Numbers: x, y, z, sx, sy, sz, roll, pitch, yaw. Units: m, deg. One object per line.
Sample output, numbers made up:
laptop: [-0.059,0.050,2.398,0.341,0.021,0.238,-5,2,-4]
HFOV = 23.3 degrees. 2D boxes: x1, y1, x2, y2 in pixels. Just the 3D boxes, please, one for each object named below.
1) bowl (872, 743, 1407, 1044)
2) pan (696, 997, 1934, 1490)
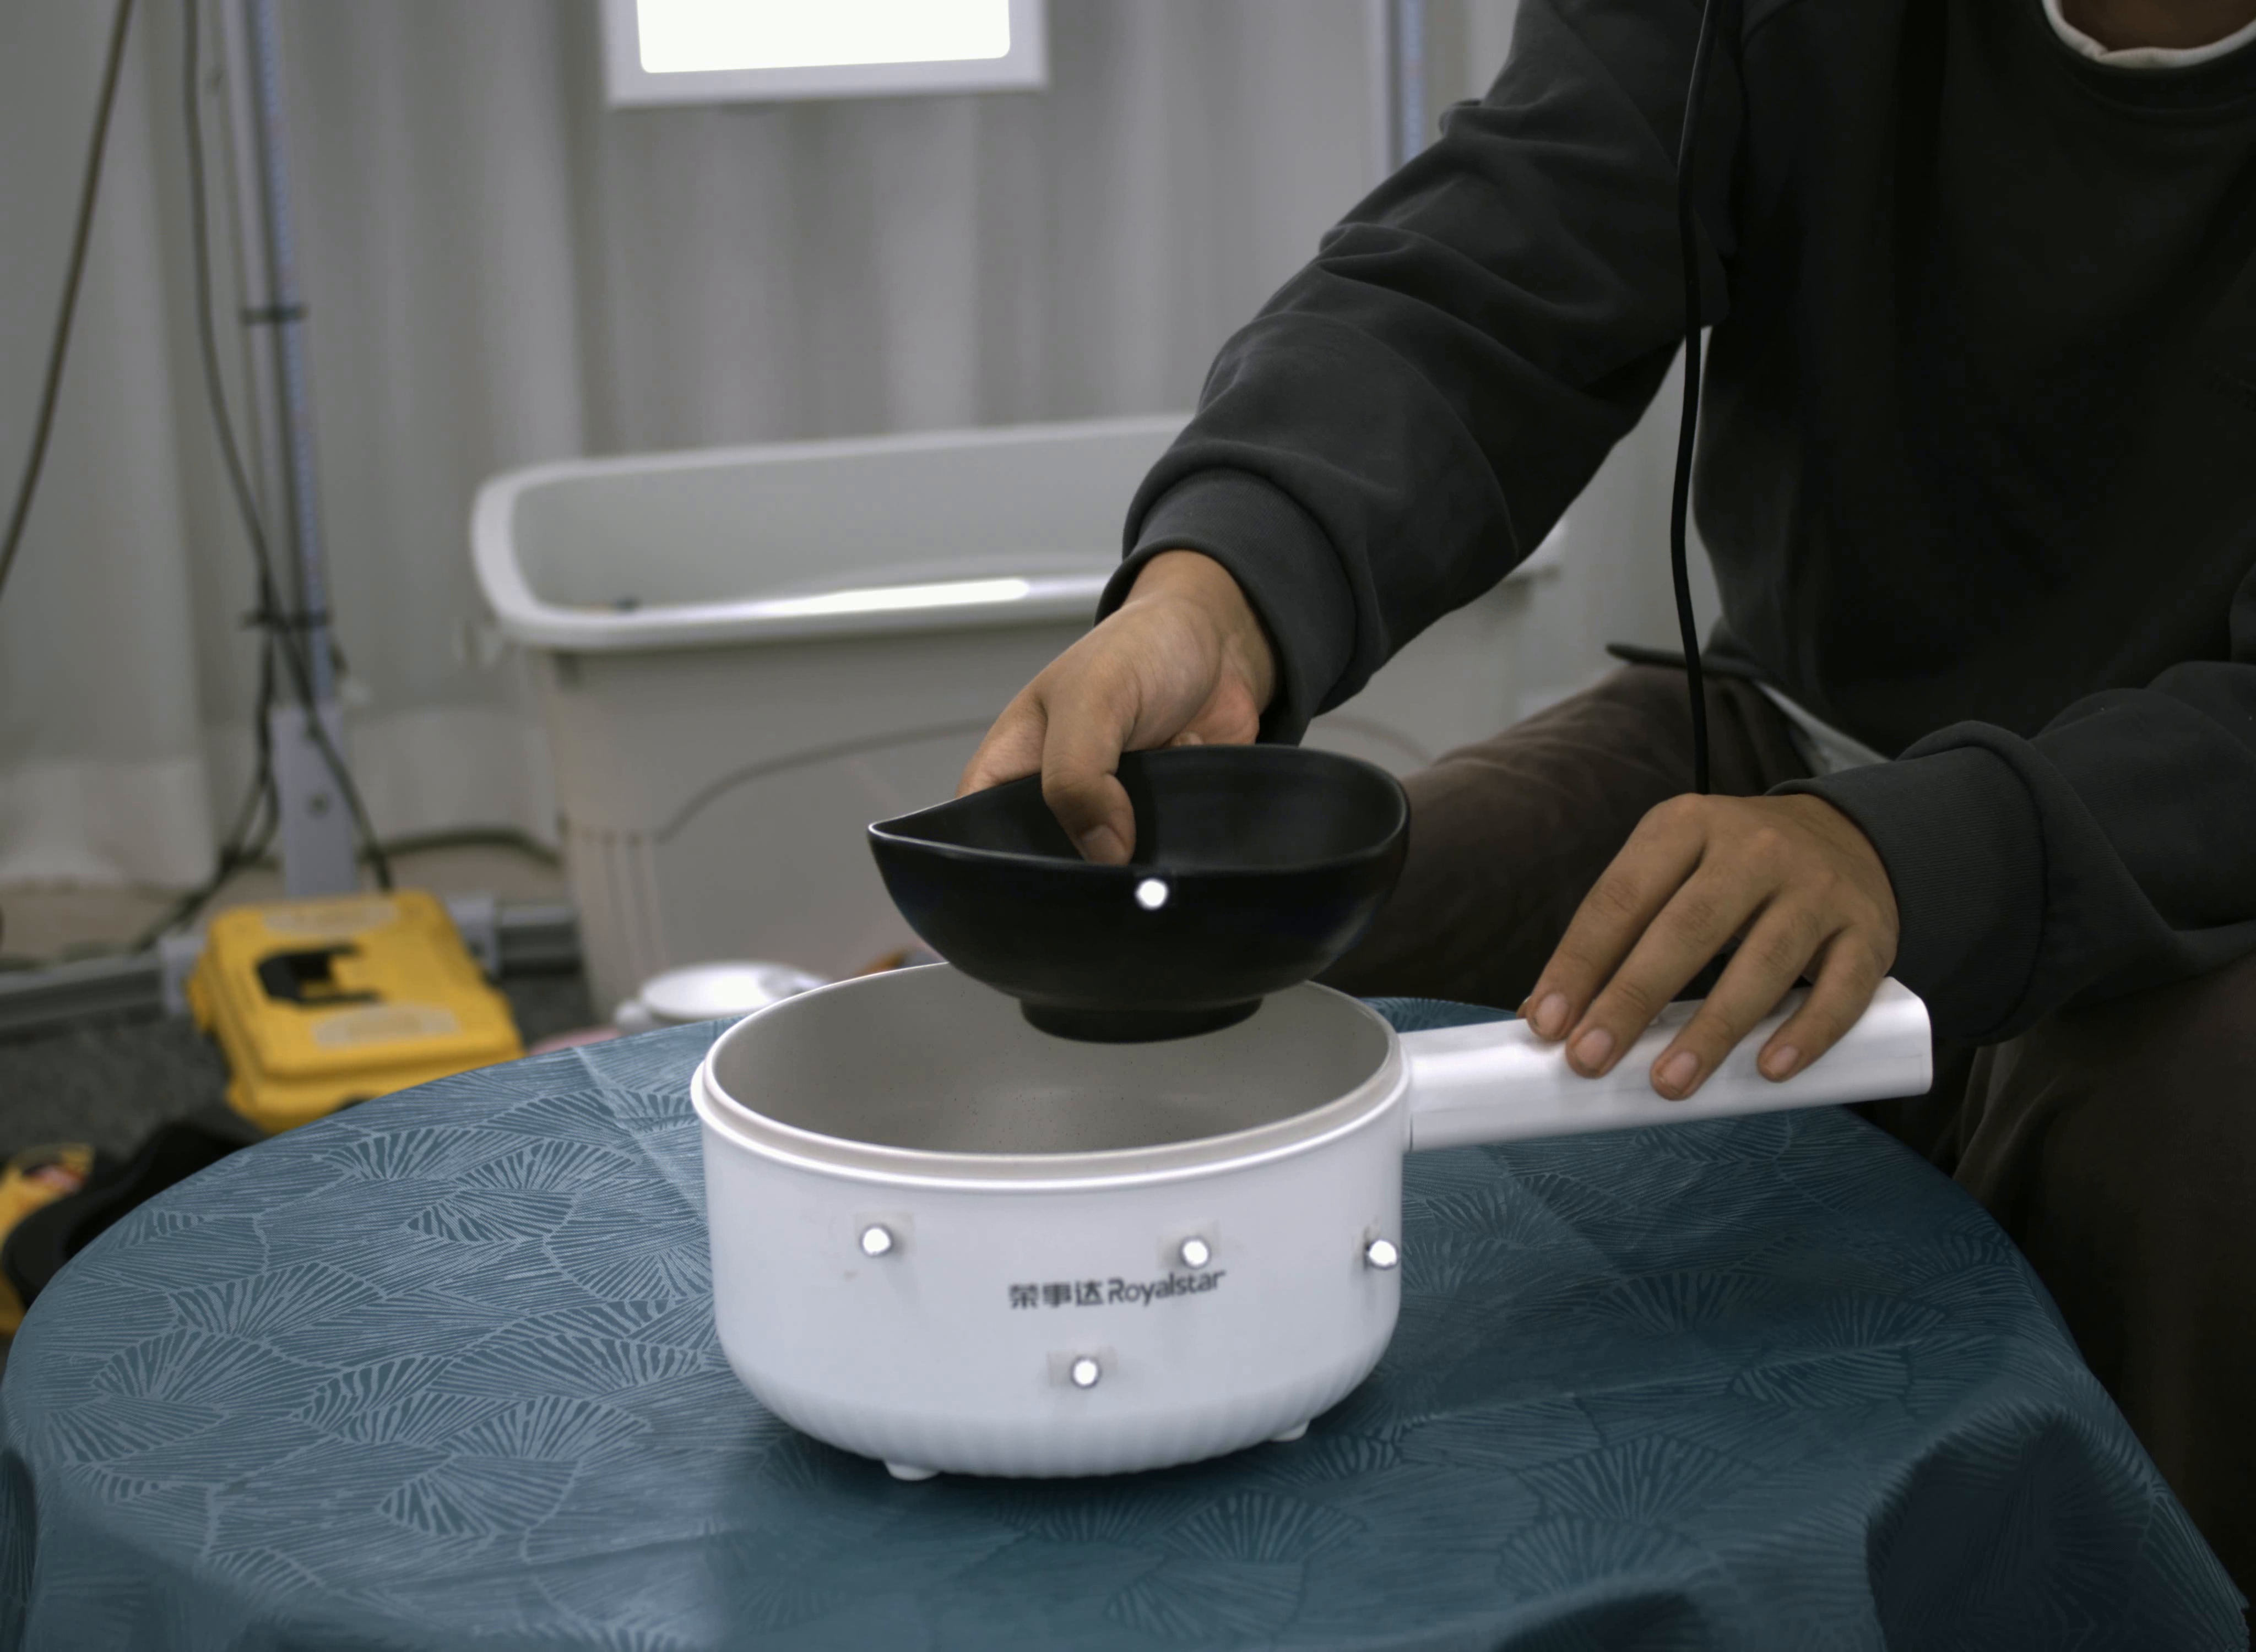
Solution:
bowl: [0.003,0.022,1.545,0.171,0.066,0.137,7,17,42]
pan: [0.055,0.114,1.553,0.353,0.102,0.202,-3,11,-12]
